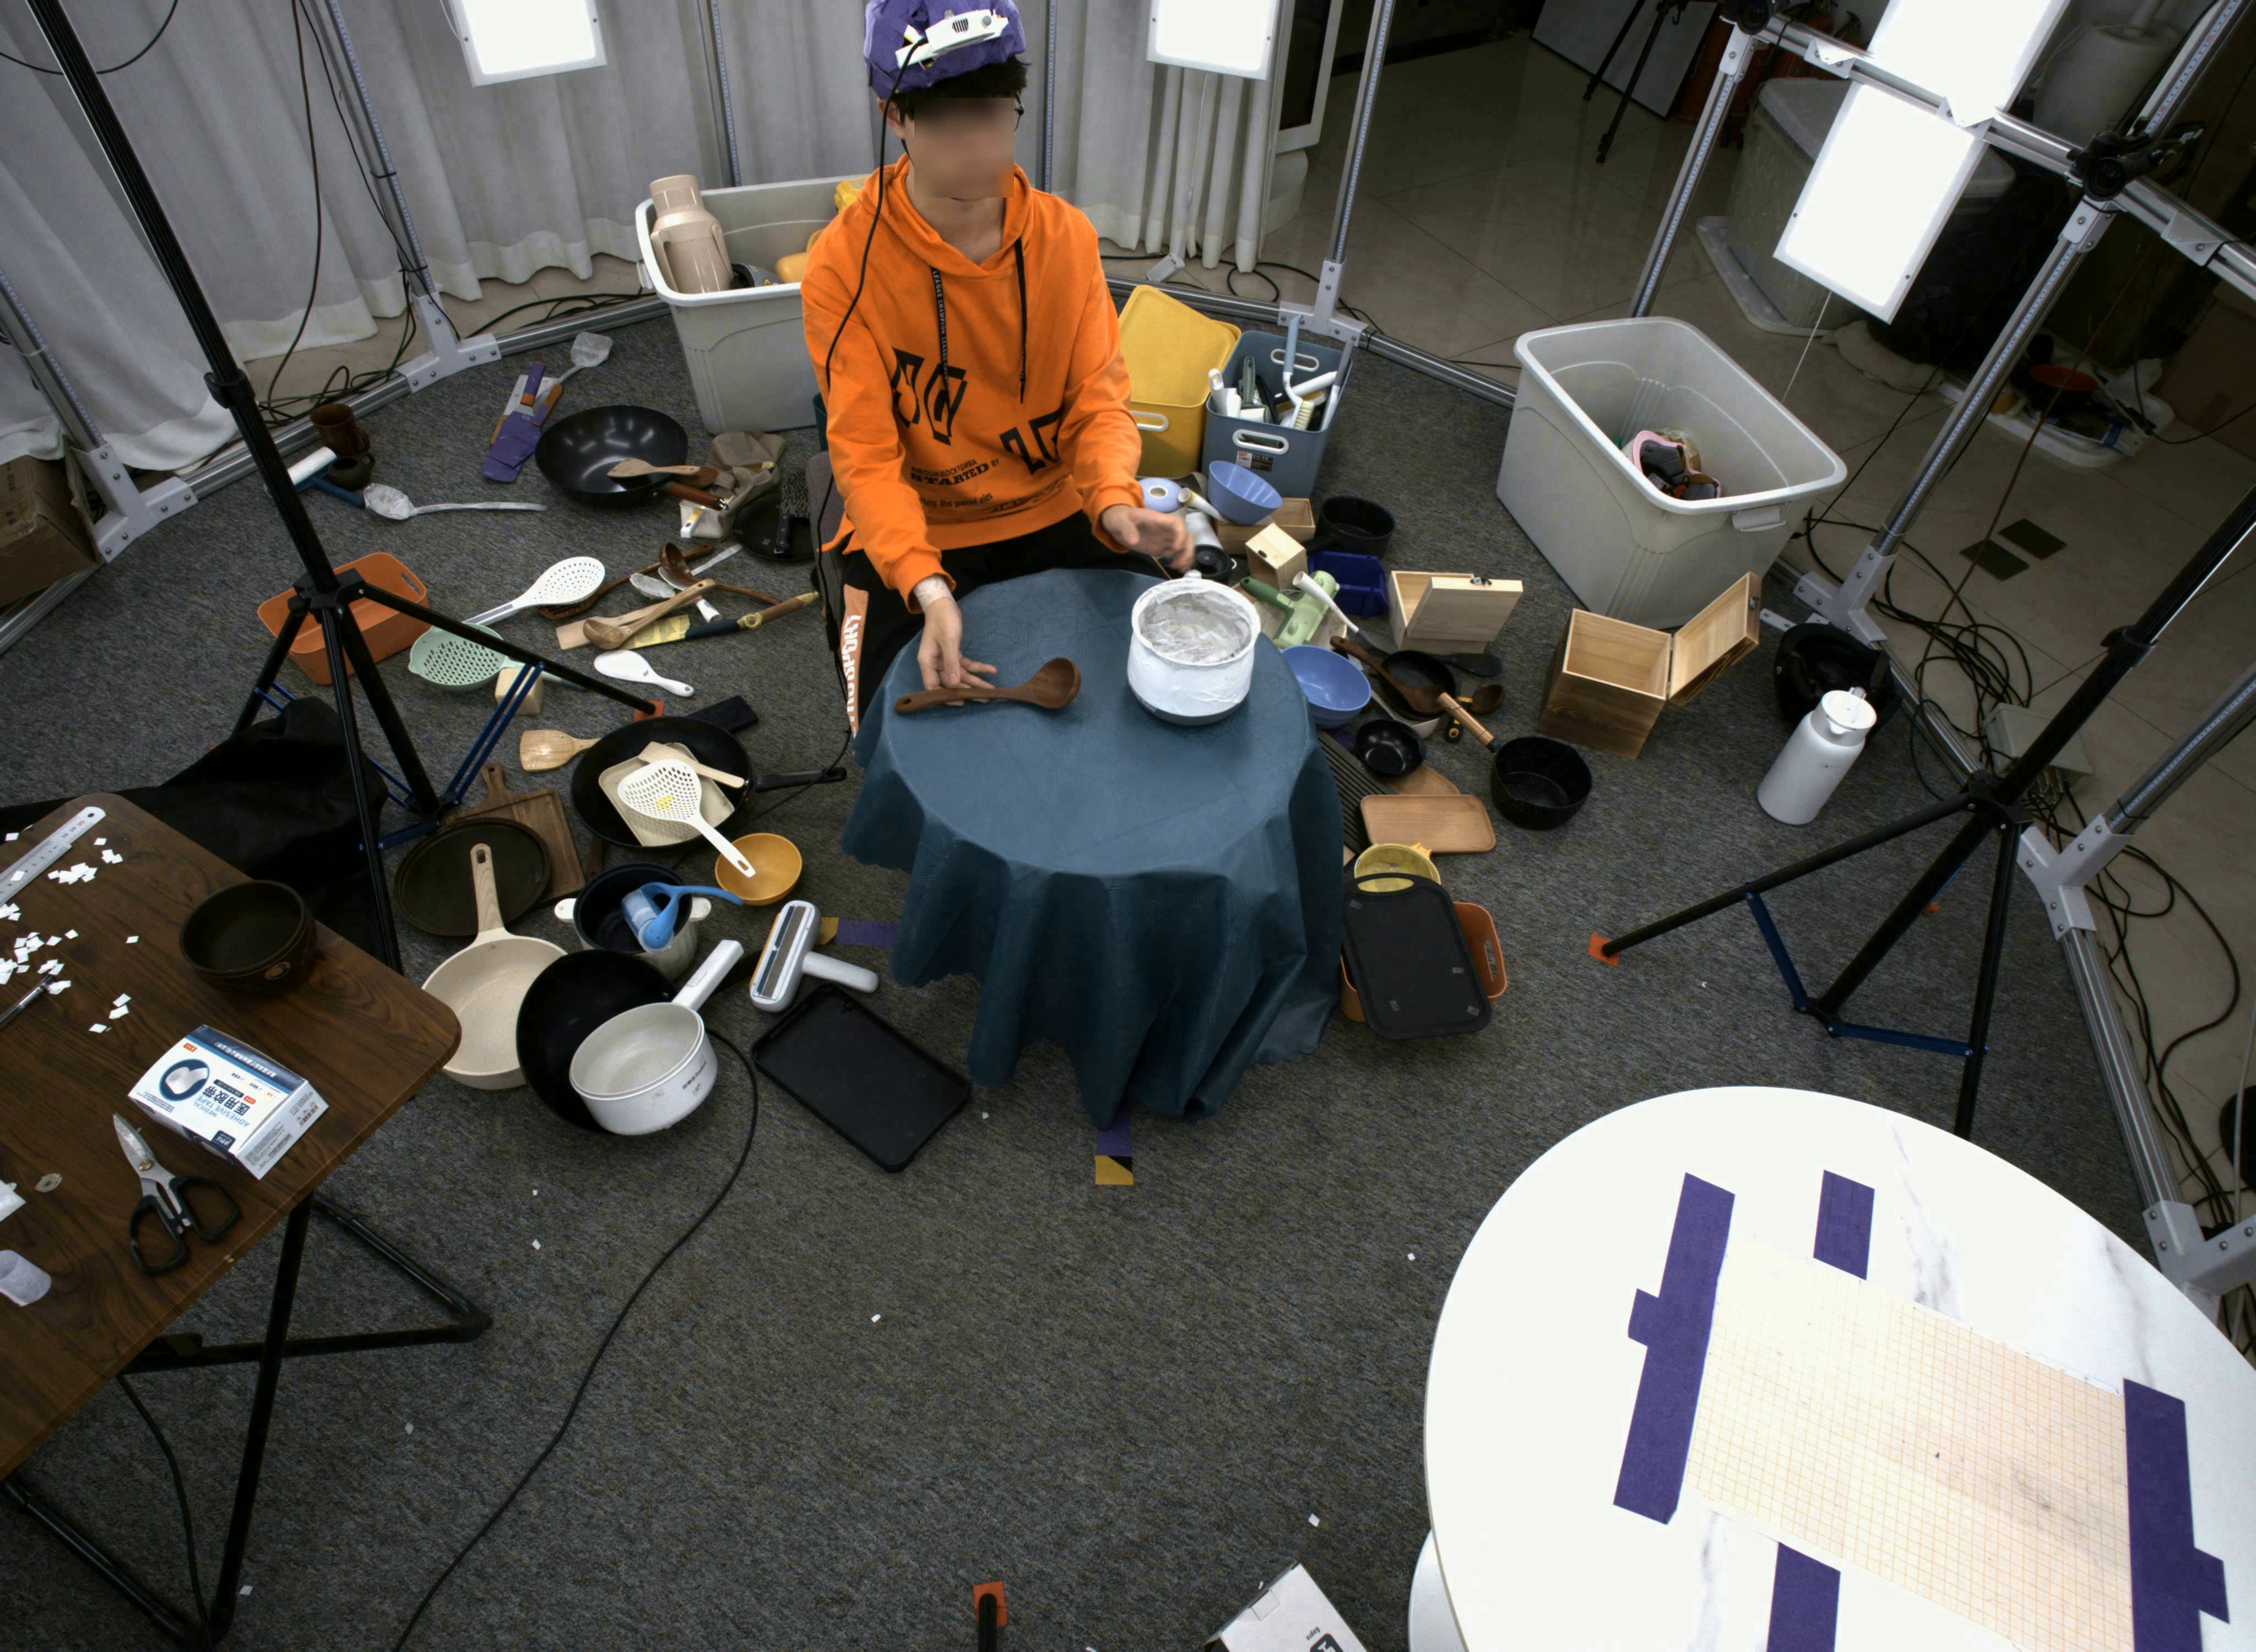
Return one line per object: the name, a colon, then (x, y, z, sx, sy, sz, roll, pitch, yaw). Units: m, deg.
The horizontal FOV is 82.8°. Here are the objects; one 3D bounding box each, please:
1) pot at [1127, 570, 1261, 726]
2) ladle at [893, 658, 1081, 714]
pot: (0.088, -0.261, 1.813, 0.178, 0.133, 0.239, 2, 49, -3)
ladle: (-0.194, -0.189, 1.778, 0.260, 0.063, 0.078, -5, 56, -9)
